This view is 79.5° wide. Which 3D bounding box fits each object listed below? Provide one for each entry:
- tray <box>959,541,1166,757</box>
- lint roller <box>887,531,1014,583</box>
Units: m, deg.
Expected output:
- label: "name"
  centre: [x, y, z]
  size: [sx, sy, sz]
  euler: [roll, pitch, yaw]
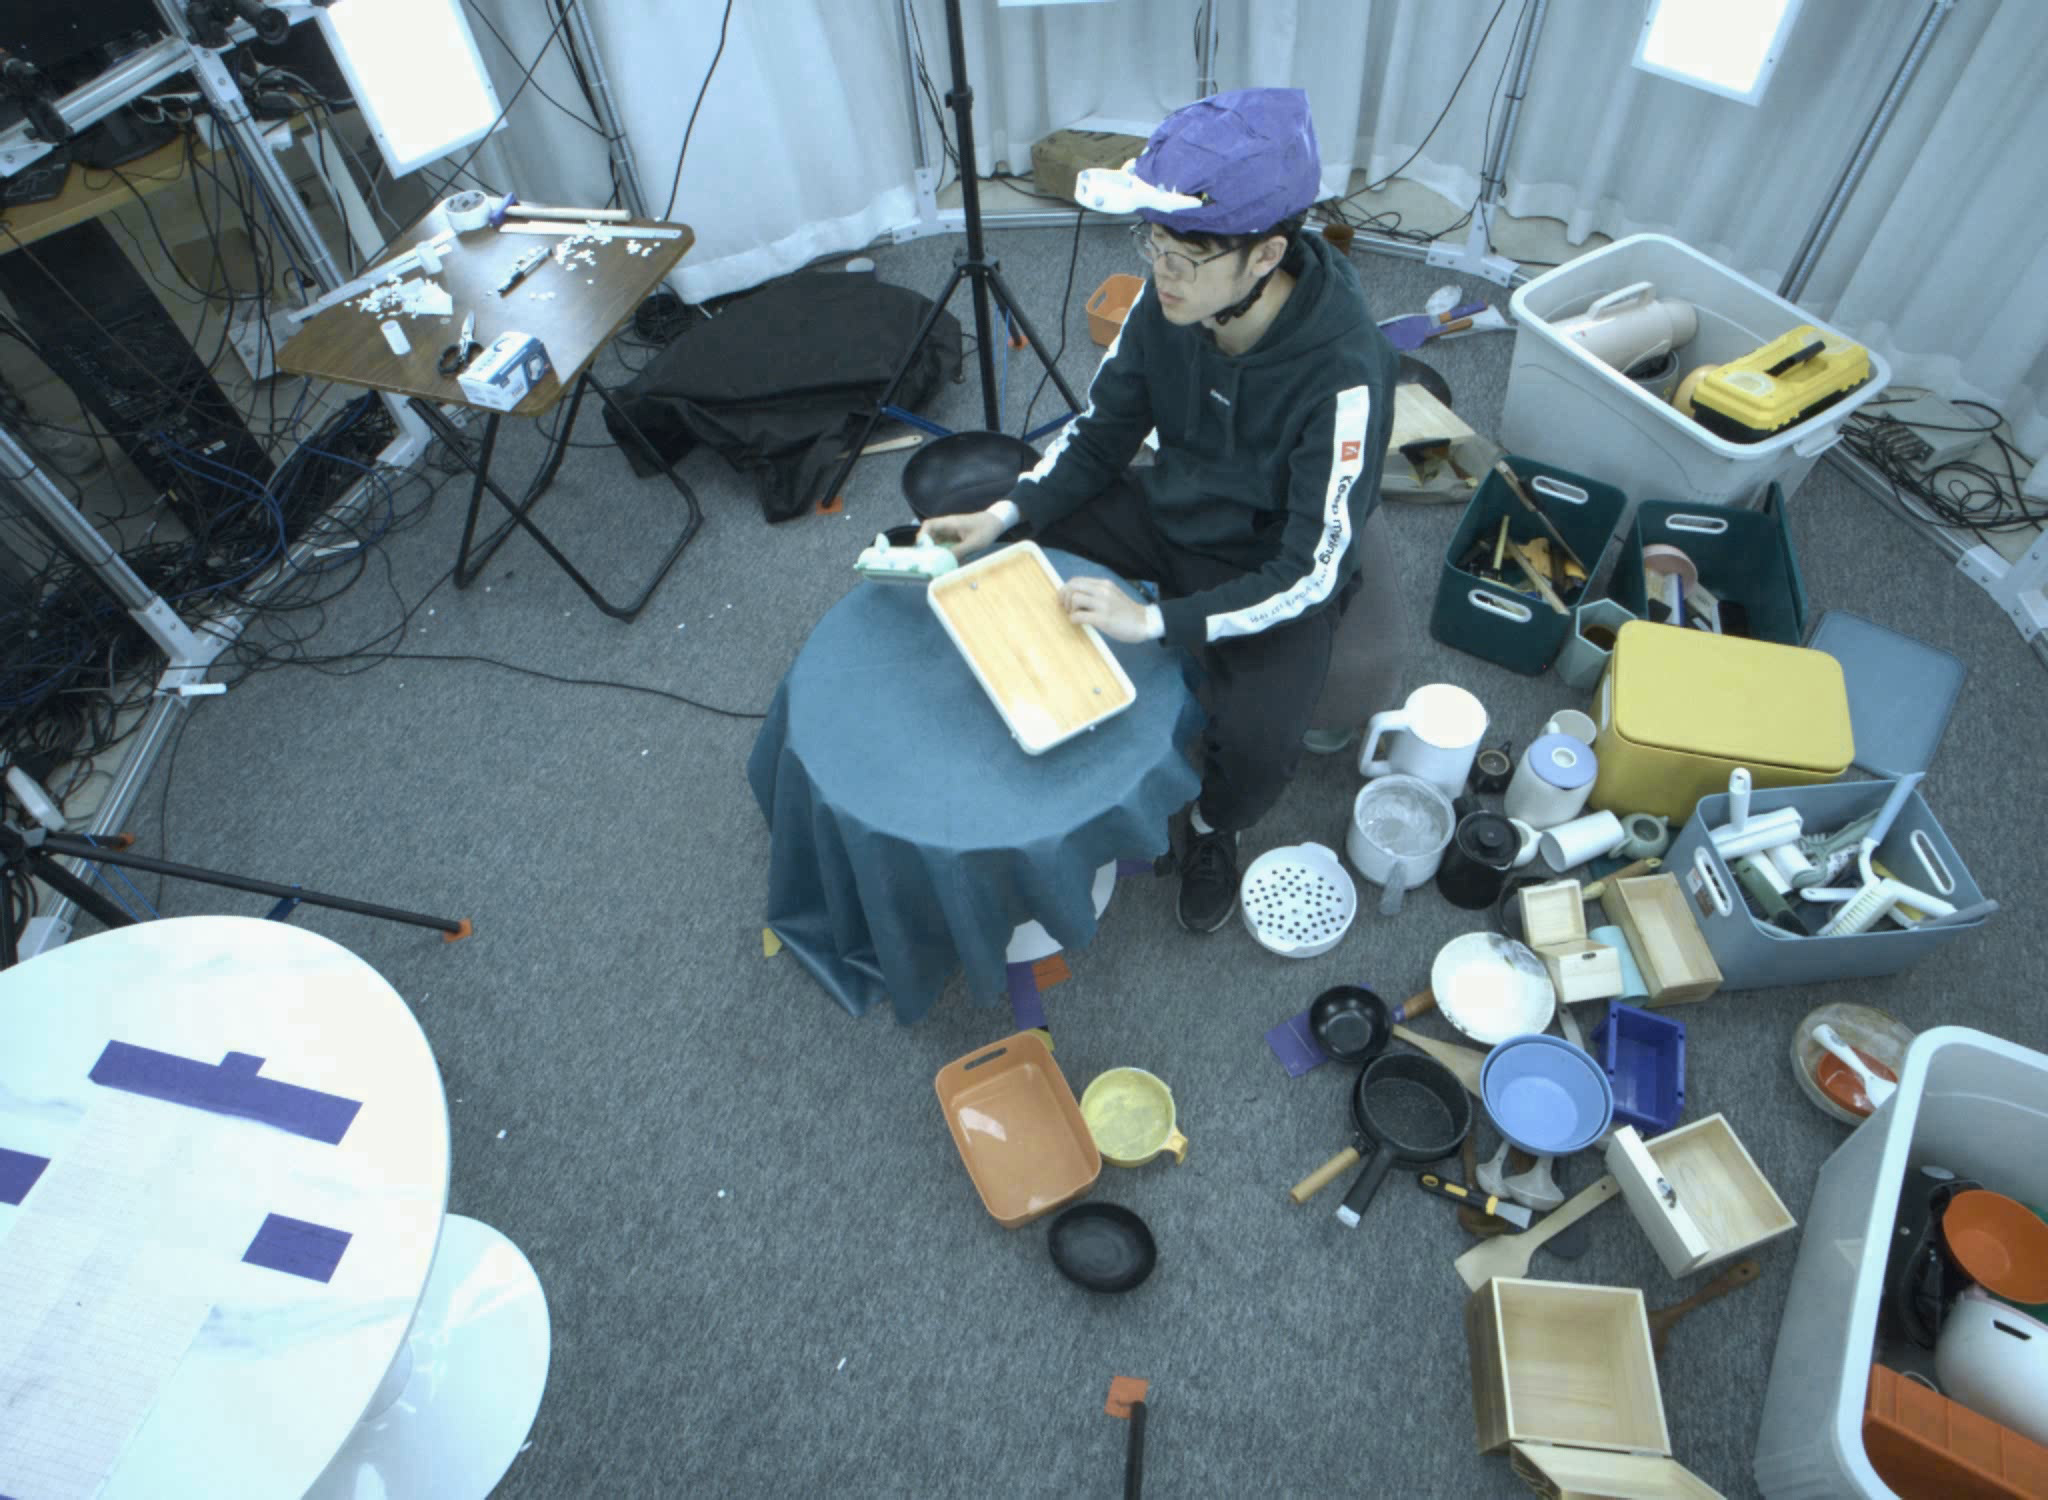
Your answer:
- label: "tray"
  centre: [0.054, -0.150, 1.766]
  size: [0.193, 0.027, 0.298]
  euler: [-25, 77, -22]
- label: "lint roller"
  centre: [-0.093, -0.319, 1.902]
  size: [0.185, 0.083, 0.194]
  euler: [-35, 29, -32]
